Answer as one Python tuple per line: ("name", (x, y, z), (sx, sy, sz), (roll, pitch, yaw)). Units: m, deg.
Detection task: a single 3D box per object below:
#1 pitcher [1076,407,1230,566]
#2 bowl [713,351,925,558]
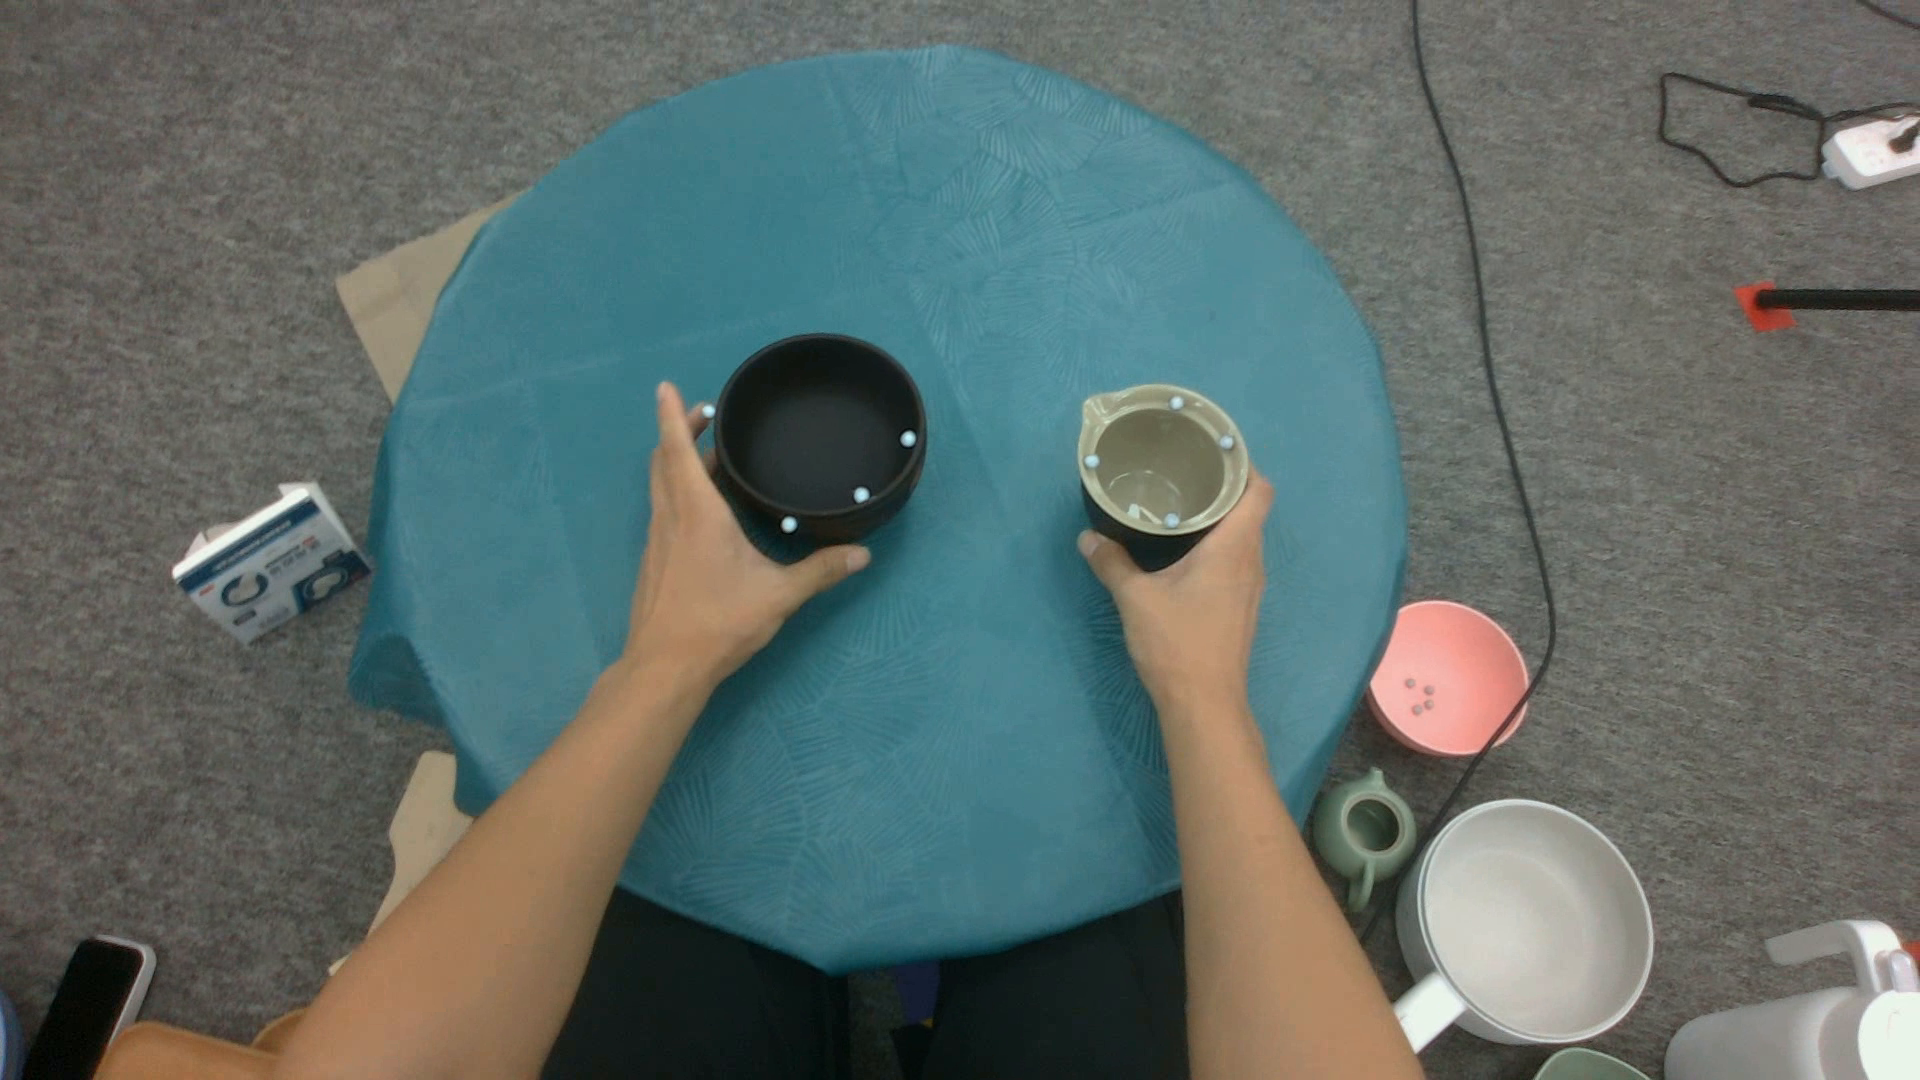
("pitcher", (0.103, -0.028, 0.791), (0.084, 0.071, 0.096), (-40, 73, -17))
("bowl", (-0.080, -0.042, 0.792), (0.118, 0.069, 0.118), (2, 63, -3))
